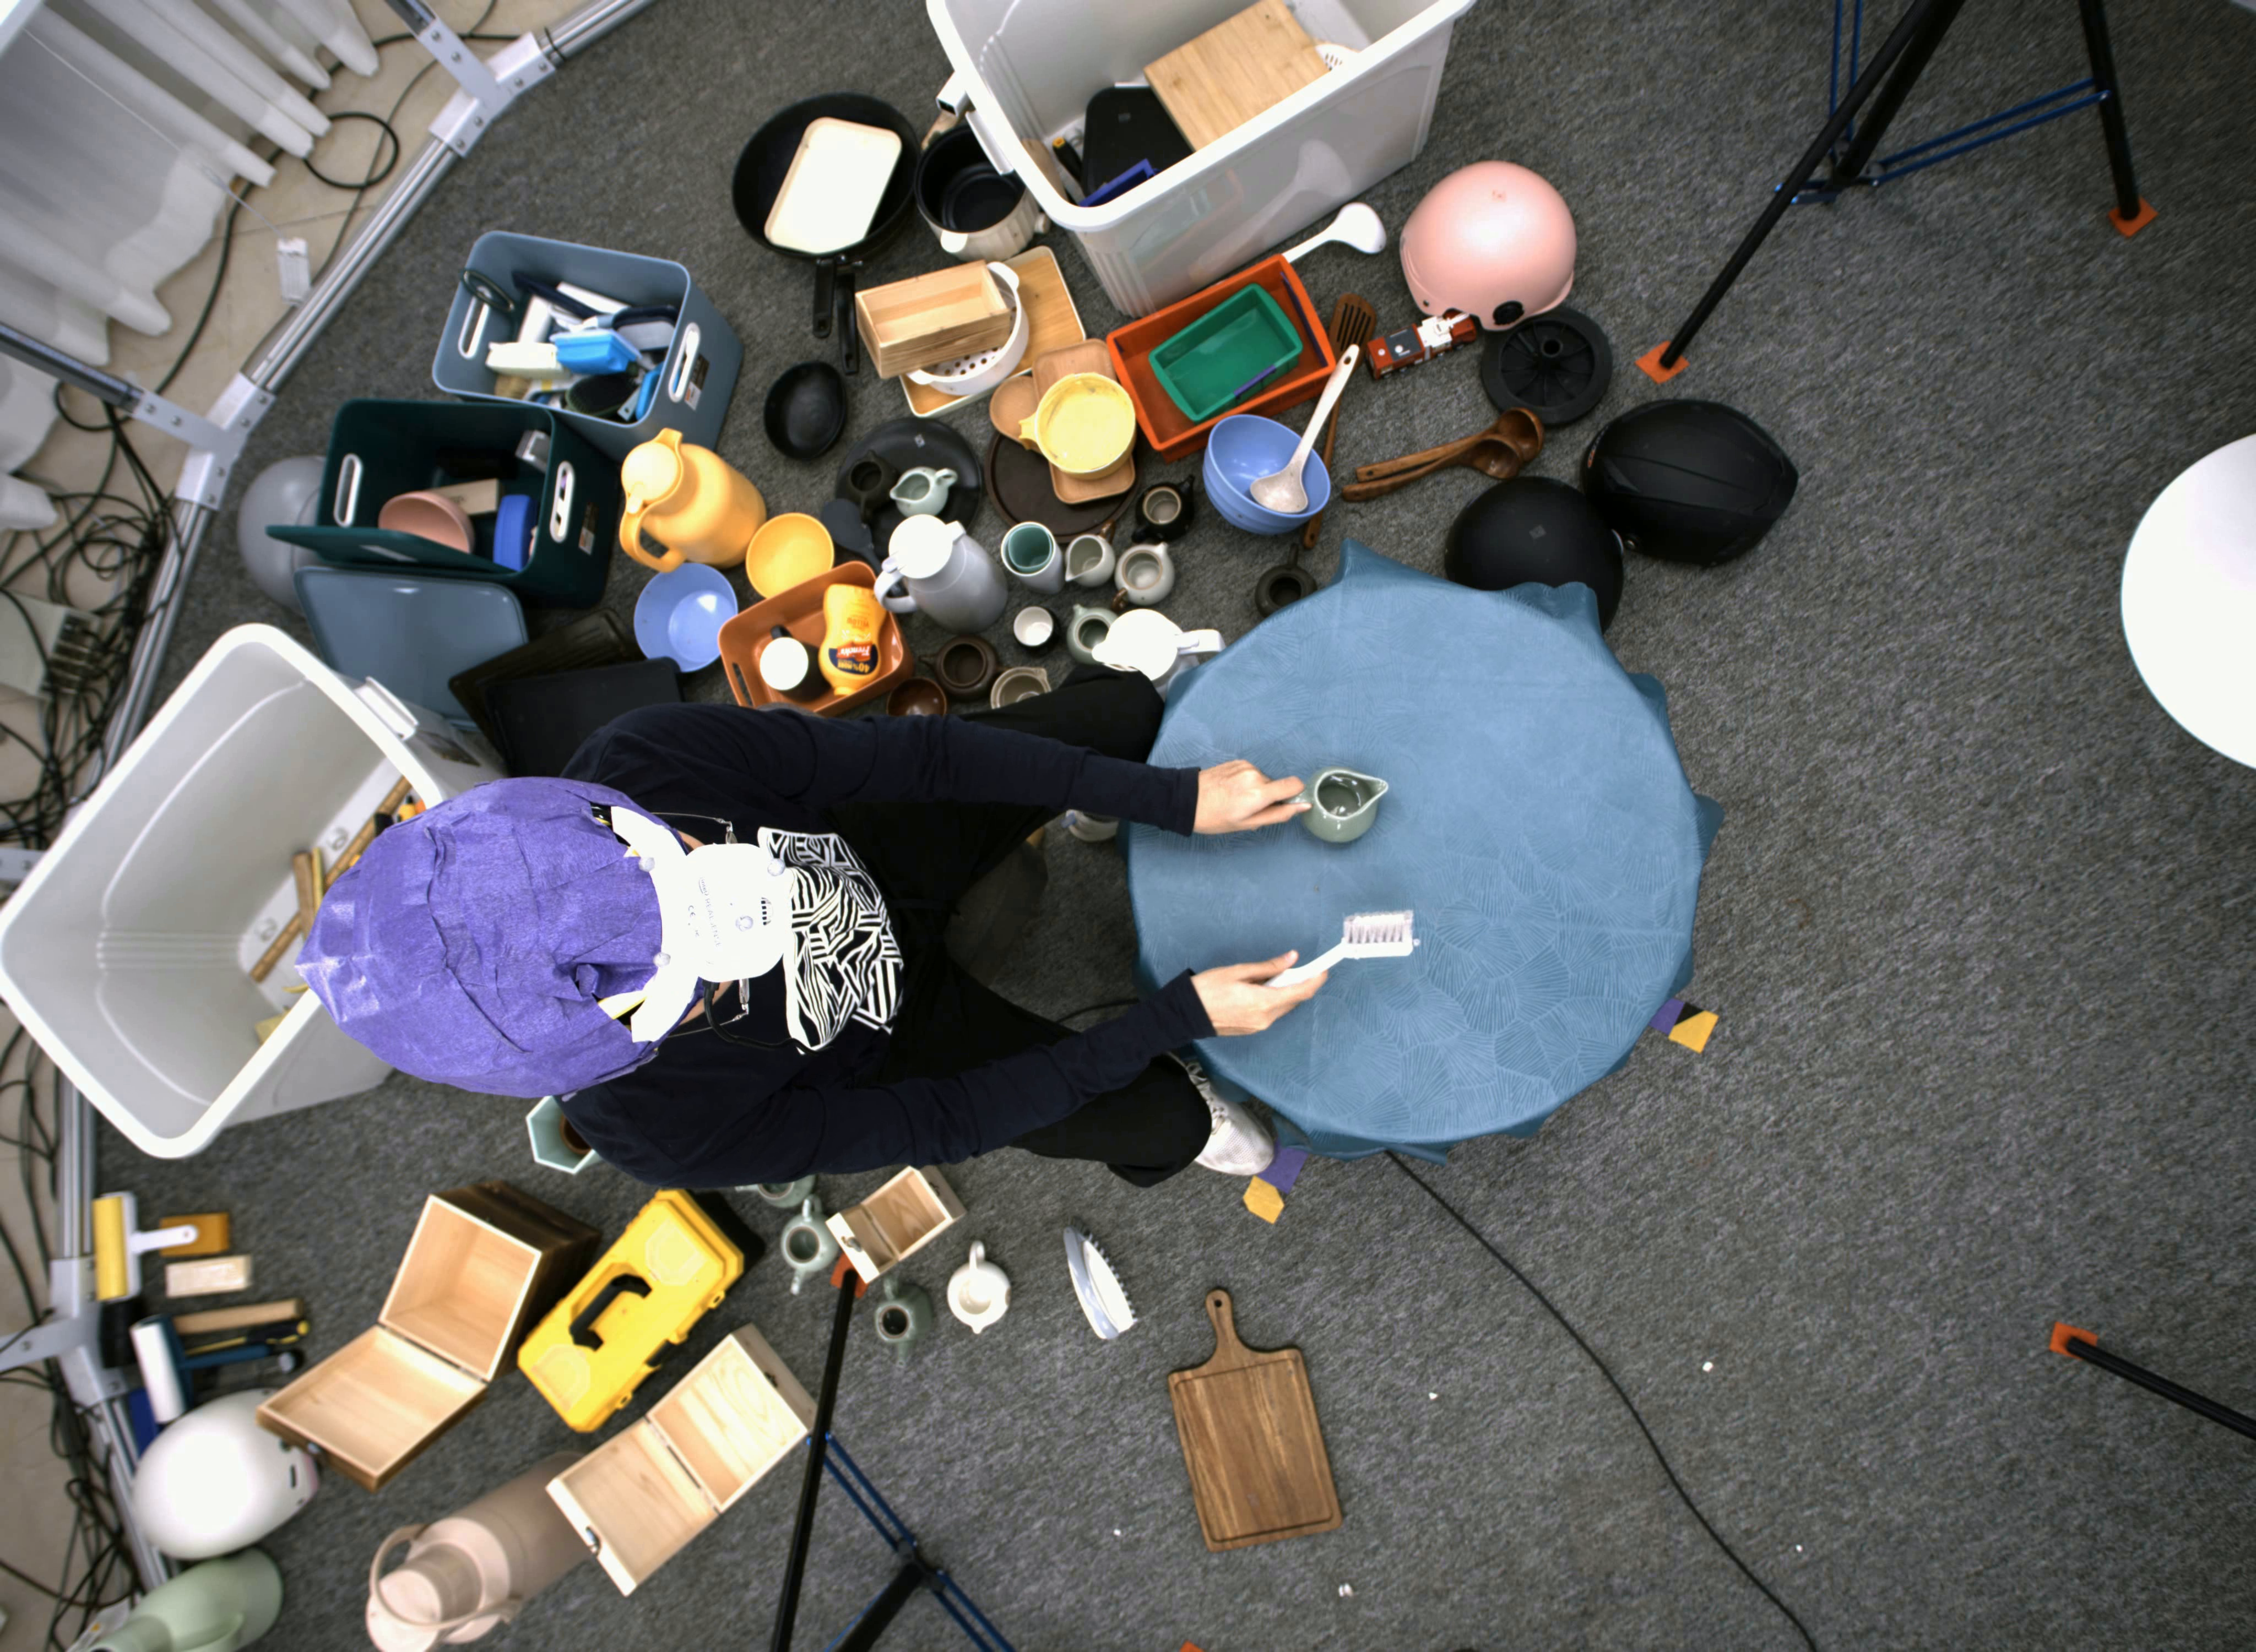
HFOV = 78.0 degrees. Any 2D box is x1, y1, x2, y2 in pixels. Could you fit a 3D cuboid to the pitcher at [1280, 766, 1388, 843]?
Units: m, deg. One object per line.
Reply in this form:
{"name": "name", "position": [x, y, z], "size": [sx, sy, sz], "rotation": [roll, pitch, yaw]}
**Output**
{"name": "pitcher", "position": [0.213, -0.026, 1.438], "size": [0.112, 0.057, 0.083], "rotation": [-13, 73, -2]}

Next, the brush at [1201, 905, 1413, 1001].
{"name": "brush", "position": [0.174, 0.125, 1.397], "size": [0.247, 0.033, 0.051], "rotation": [-19, 109, 26]}
